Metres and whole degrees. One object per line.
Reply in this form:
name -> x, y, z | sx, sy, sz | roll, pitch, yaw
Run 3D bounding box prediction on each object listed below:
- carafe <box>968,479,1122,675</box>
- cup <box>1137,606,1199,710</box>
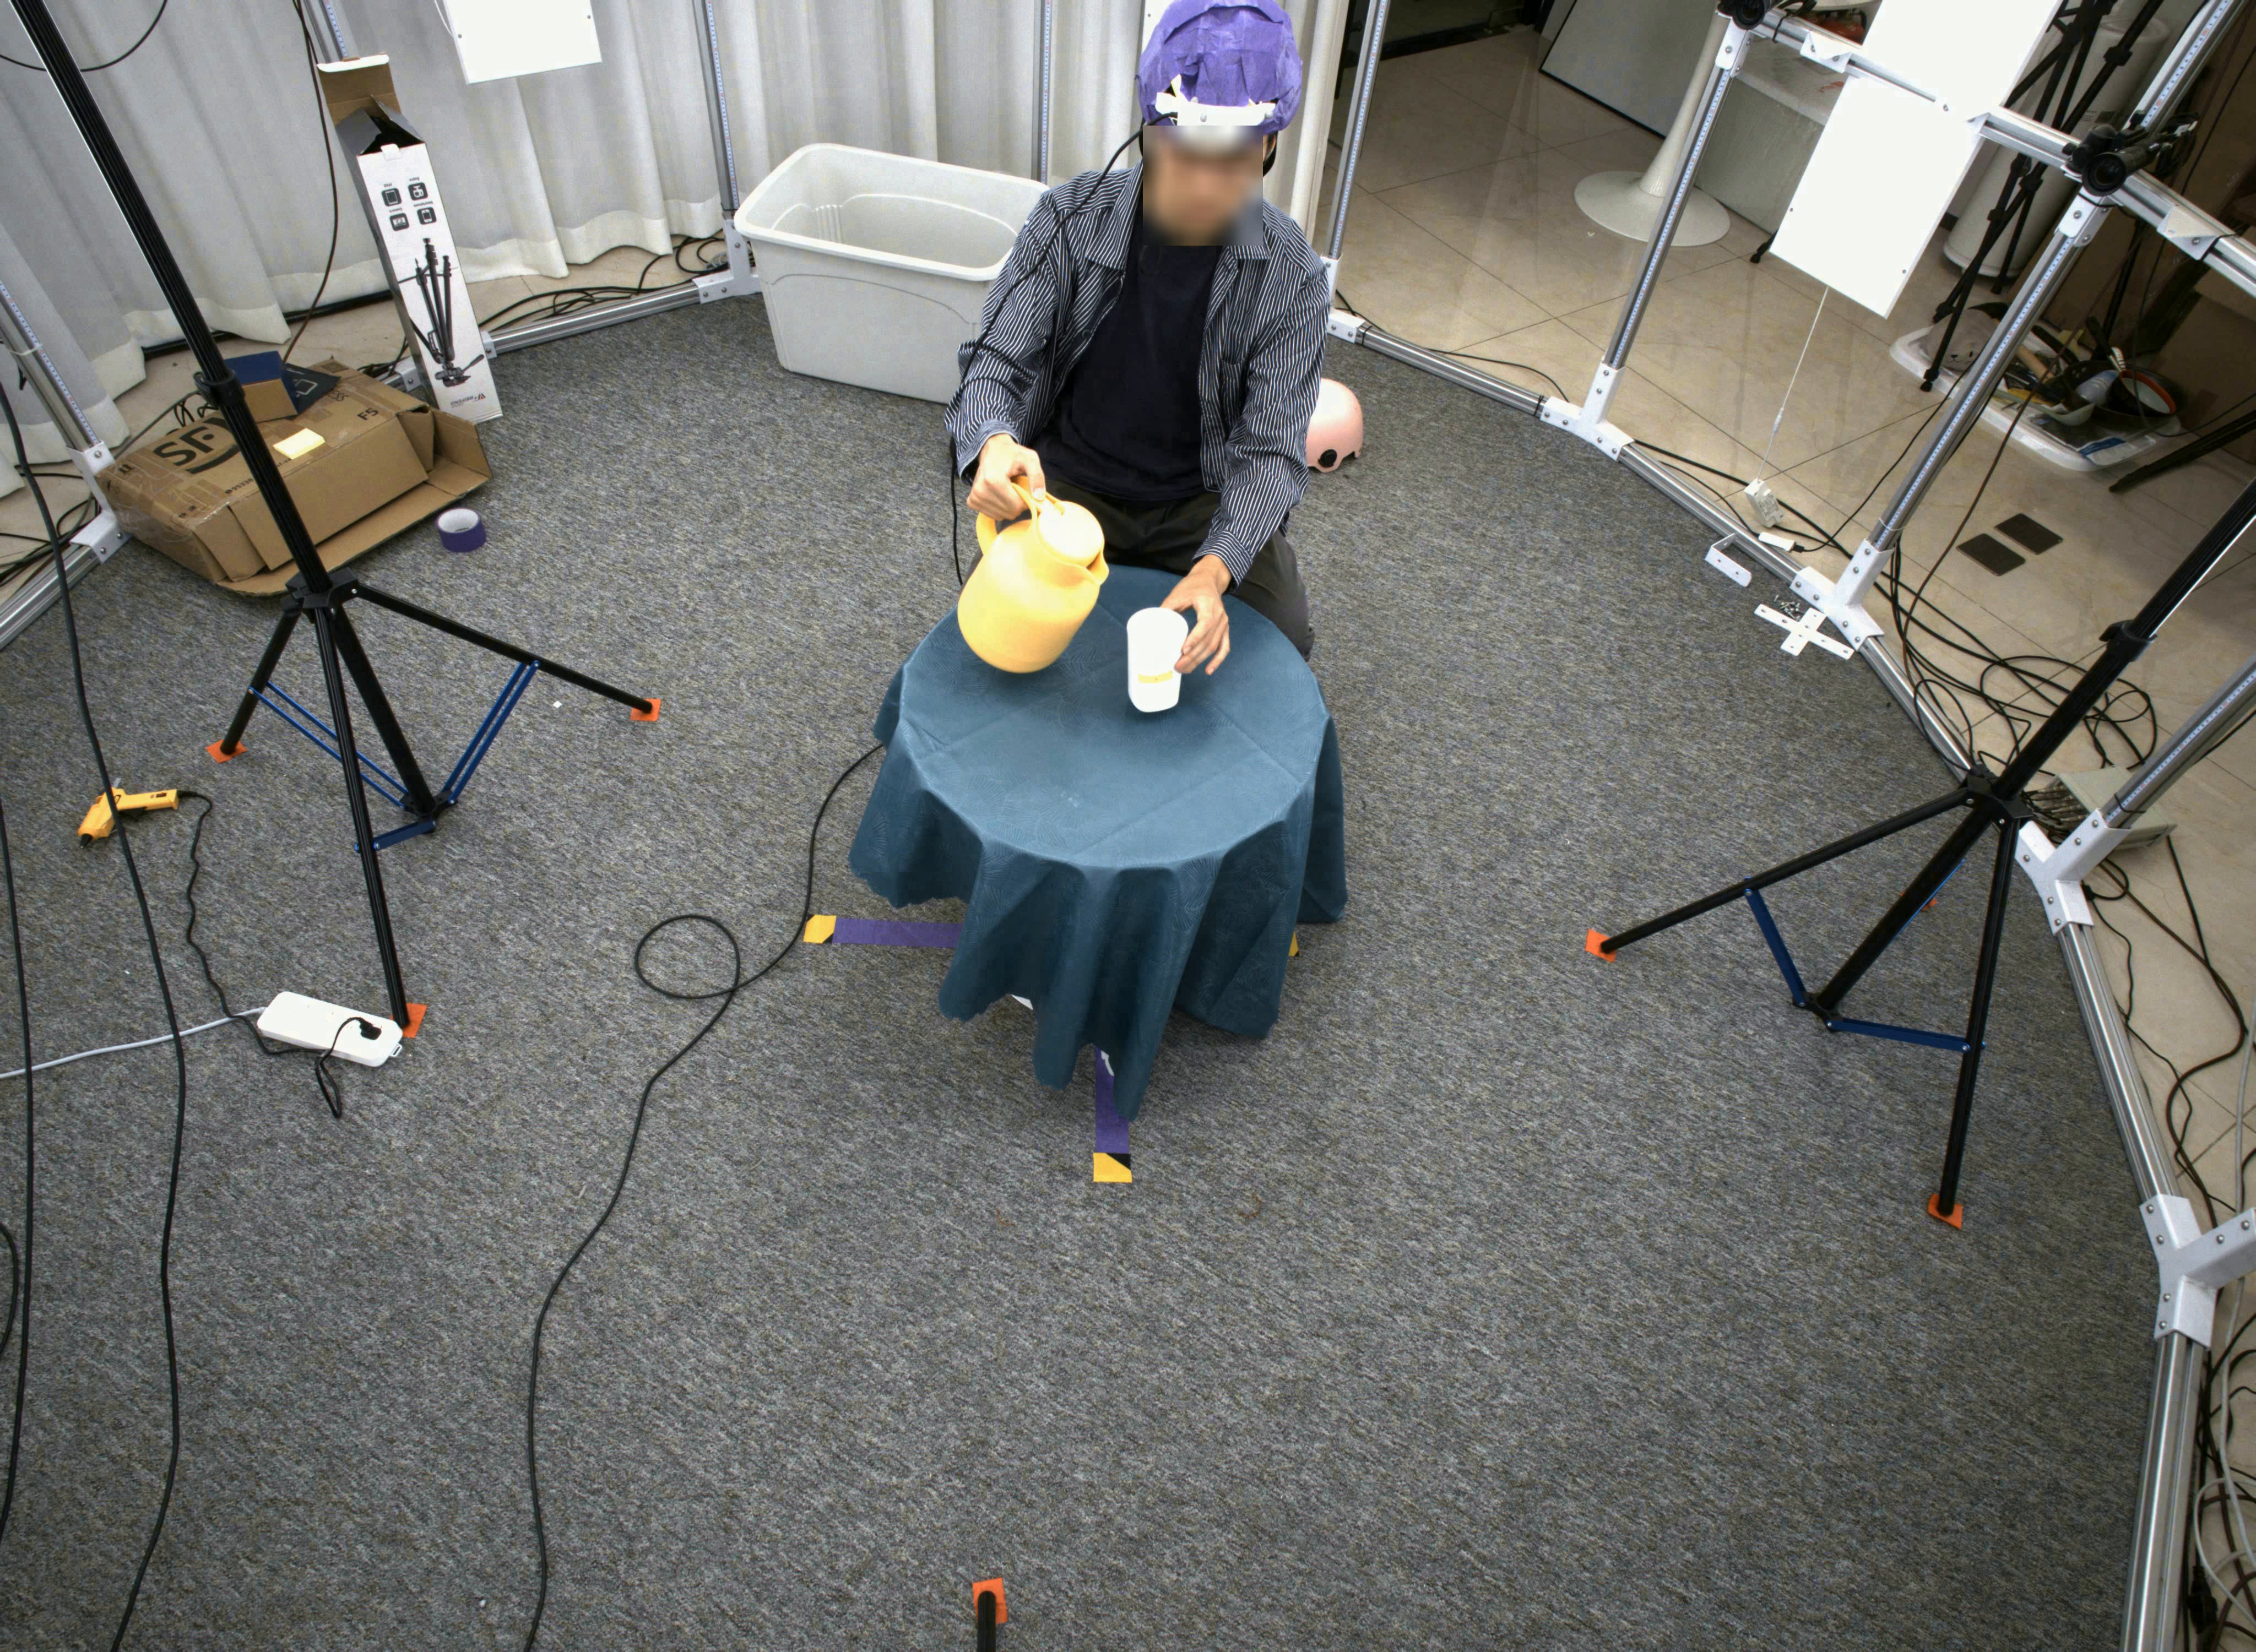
carafe -> -0.118, -0.339, 1.729 | 0.165, 0.257, 0.203 | -37, 86, -36
cup -> 0.051, -0.226, 1.748 | 0.081, 0.122, 0.084 | 2, 47, -2
